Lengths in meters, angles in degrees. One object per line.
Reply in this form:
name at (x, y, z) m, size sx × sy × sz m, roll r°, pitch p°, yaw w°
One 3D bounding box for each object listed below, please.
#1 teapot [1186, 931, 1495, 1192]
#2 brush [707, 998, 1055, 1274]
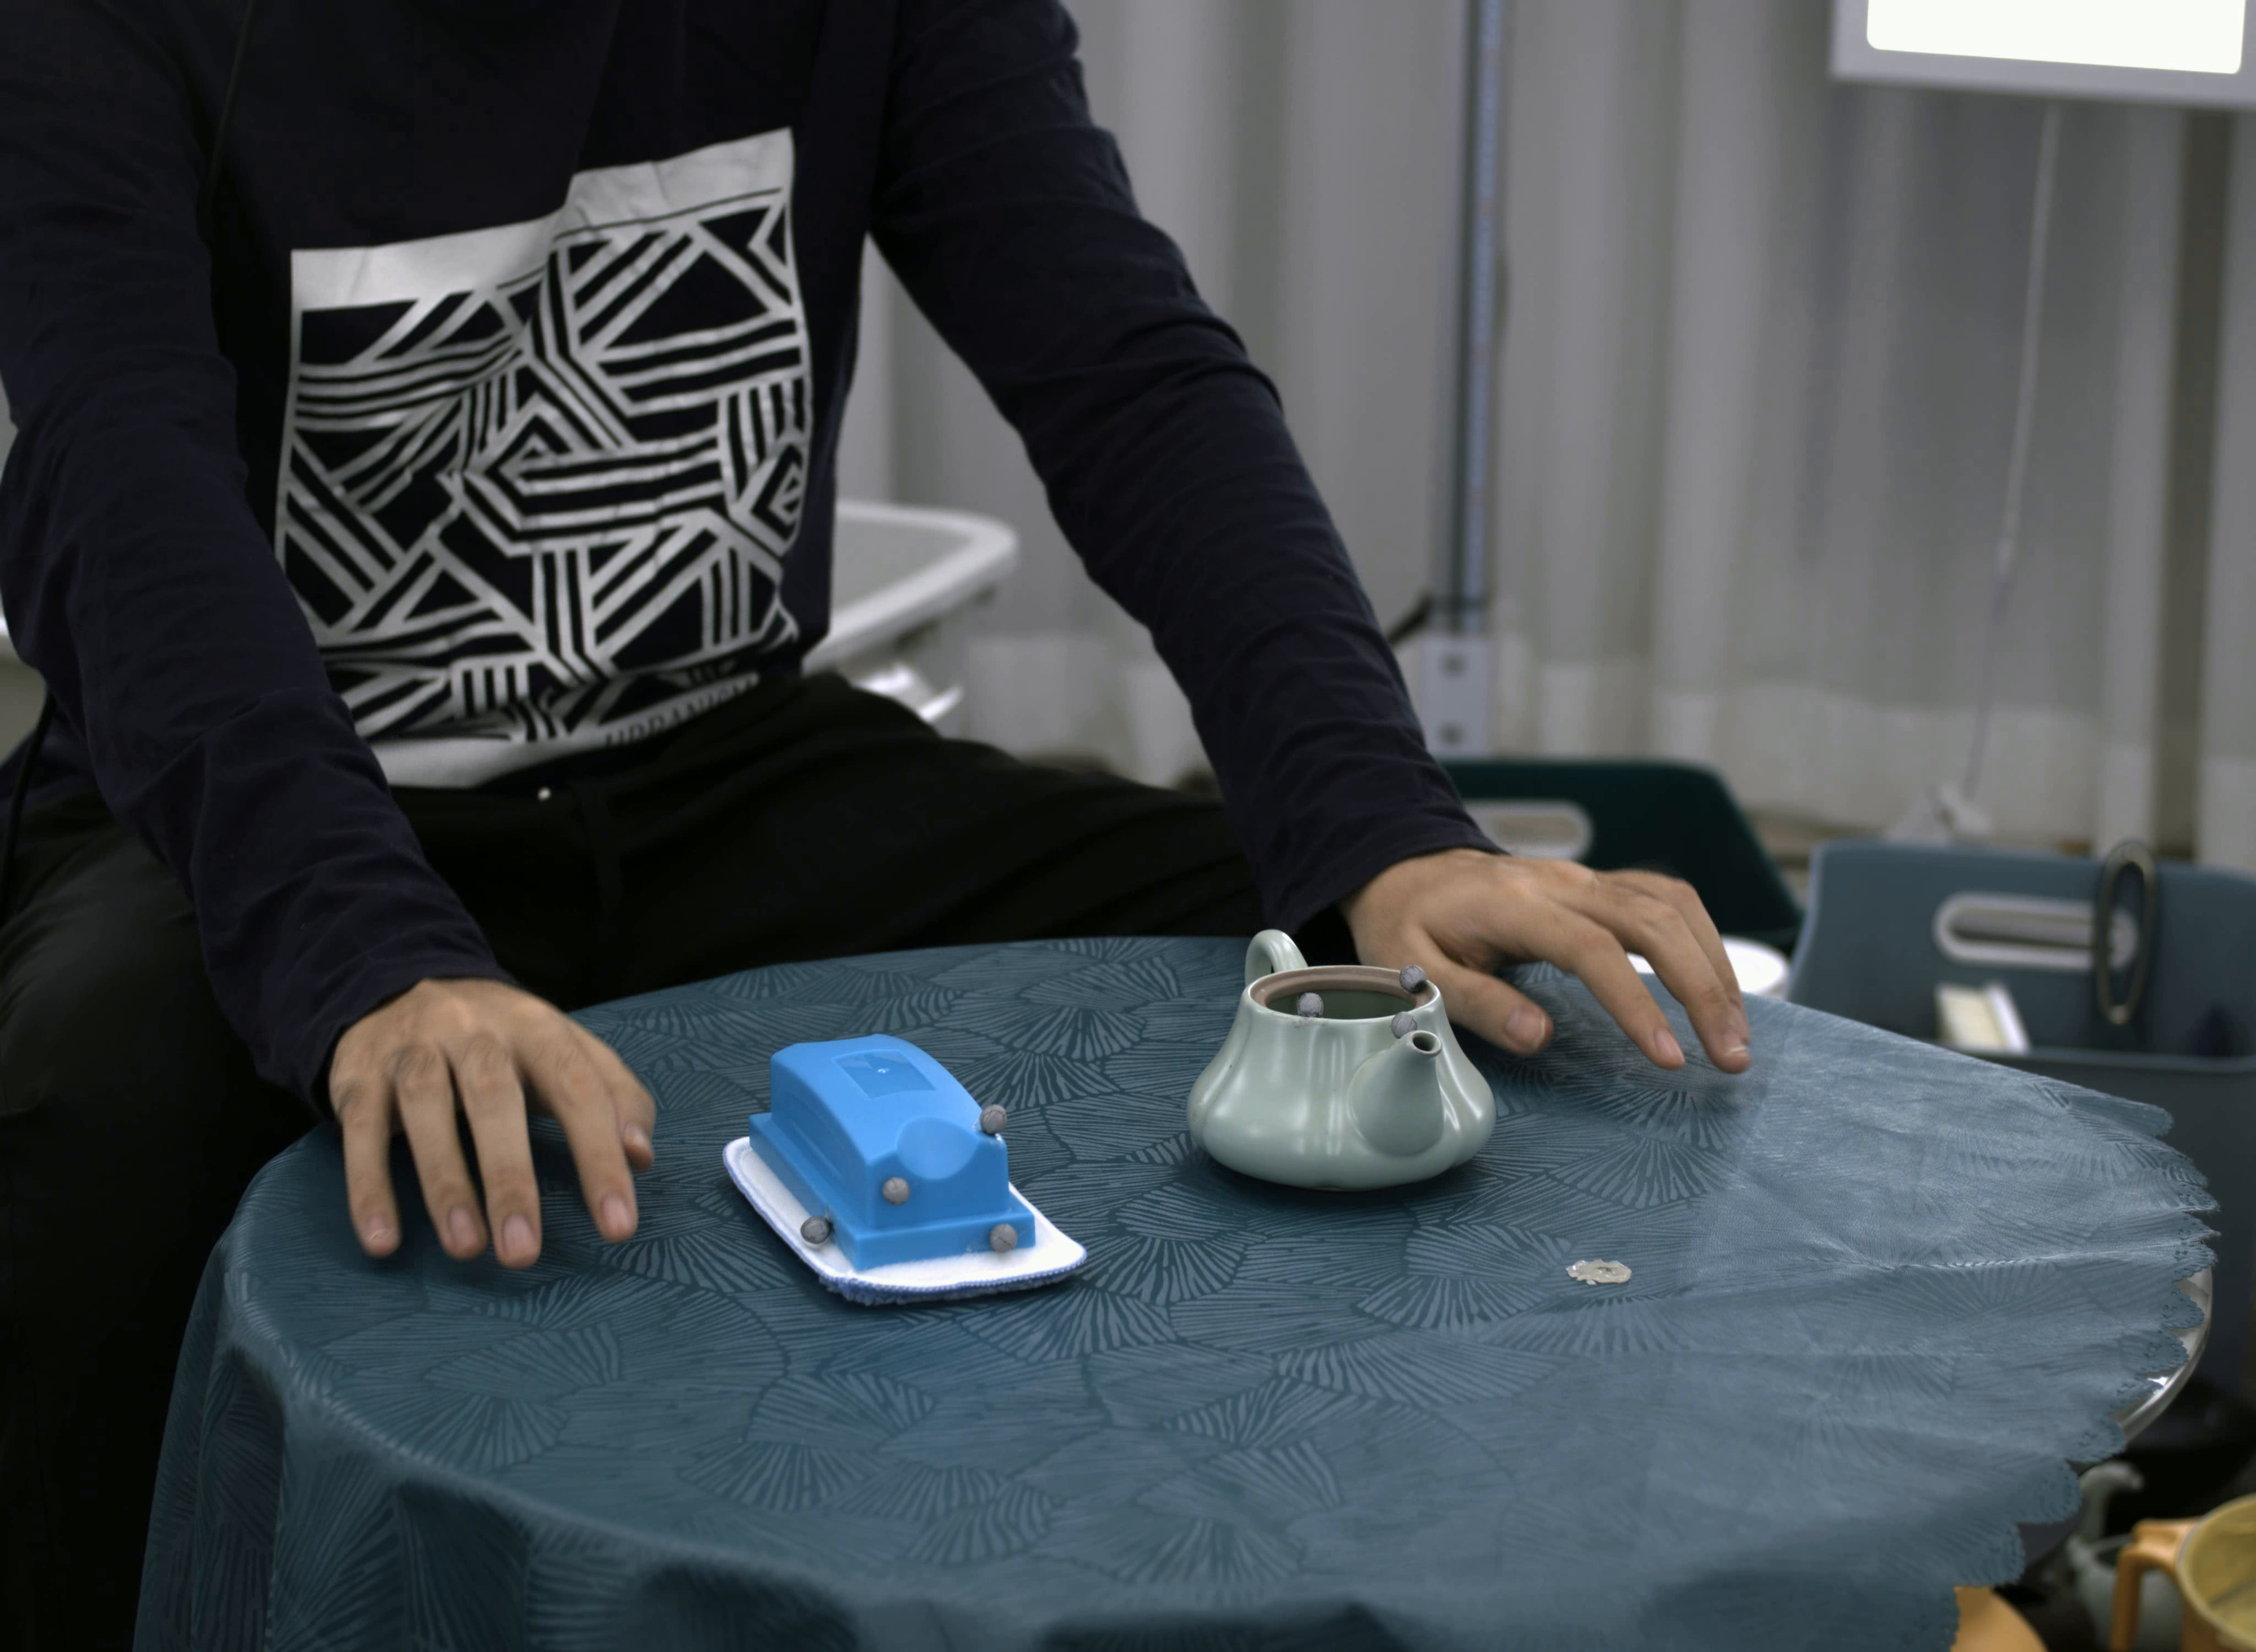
teapot at (0.064, 0.076, 1.647) m, size 0.096 × 0.062 × 0.135 m, roll -8°, pitch 18°, yaw -23°
brush at (-0.073, 0.091, 1.585) m, size 0.084 × 0.056 × 0.142 m, roll -2°, pitch 18°, yaw -18°
